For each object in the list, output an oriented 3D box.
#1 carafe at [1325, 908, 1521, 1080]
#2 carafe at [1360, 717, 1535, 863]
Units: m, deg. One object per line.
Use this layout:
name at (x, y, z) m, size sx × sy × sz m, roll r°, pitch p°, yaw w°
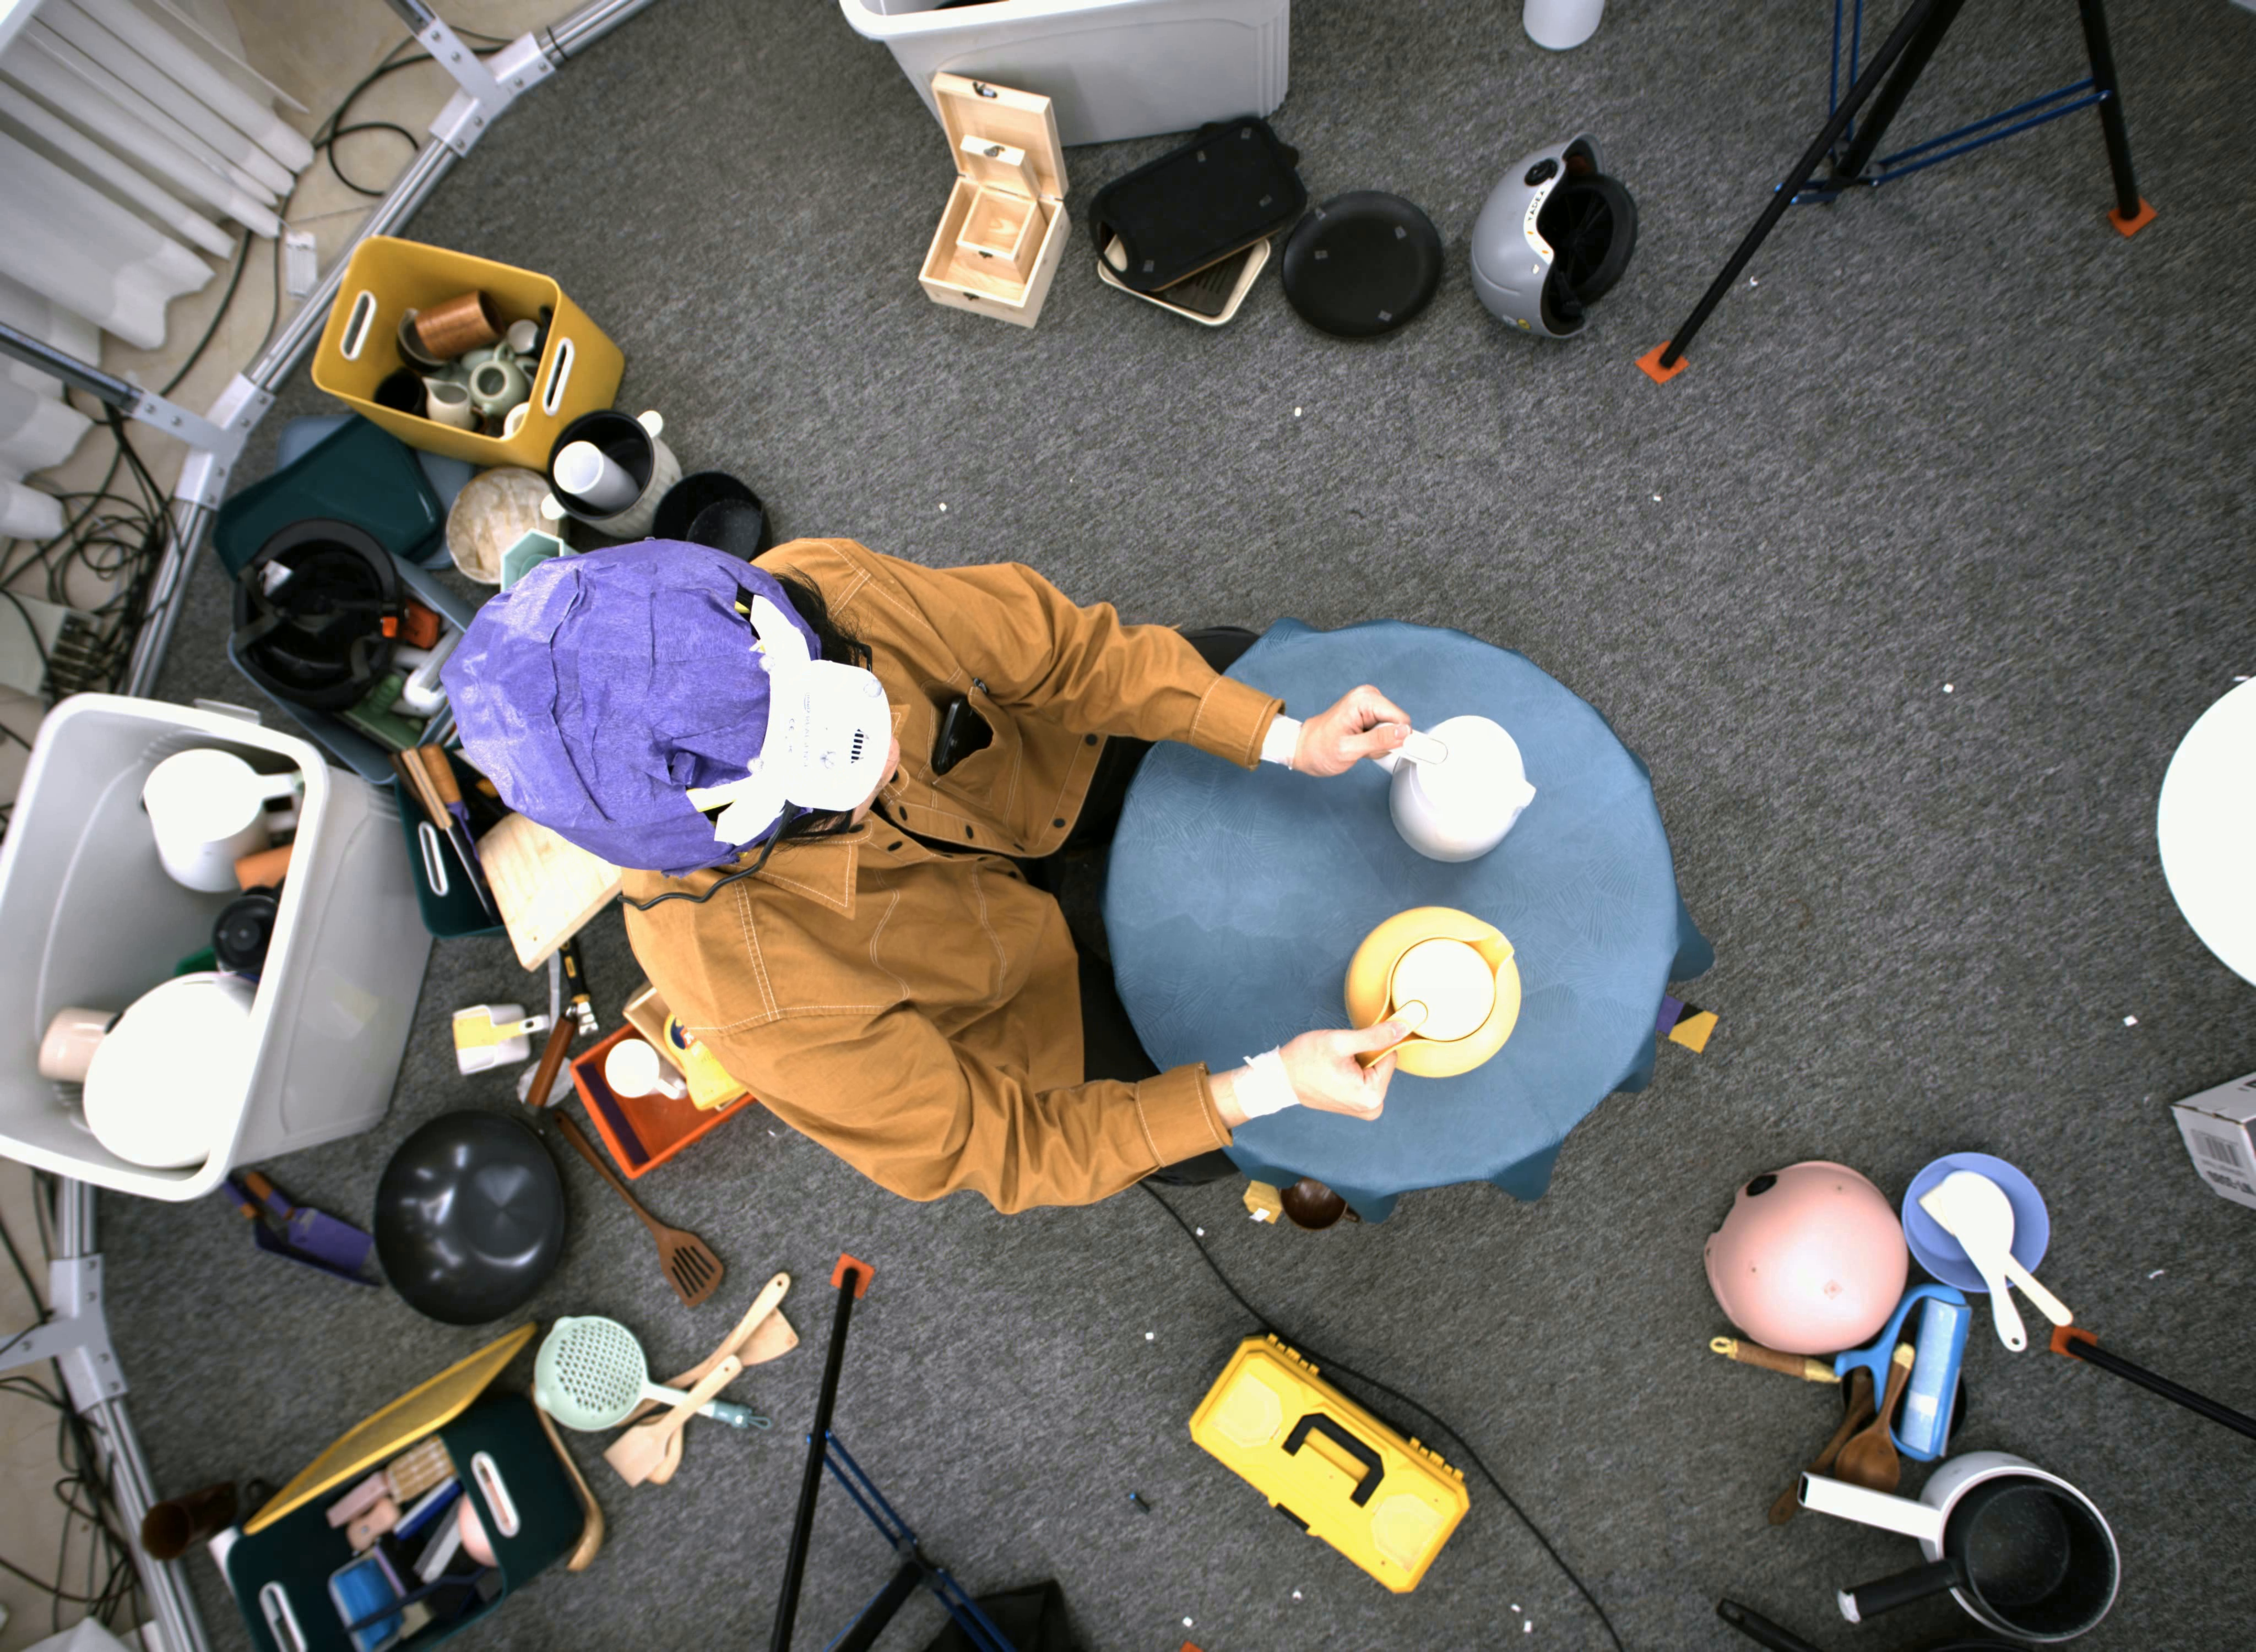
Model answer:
carafe at (0.275, 0.168, 1.321) m, size 0.203 × 0.261 × 0.162 m, roll -36°, pitch 78°, yaw 2°
carafe at (0.304, -0.049, 1.334) m, size 0.167 × 0.249 × 0.132 m, roll 26°, pitch 90°, yaw 12°
